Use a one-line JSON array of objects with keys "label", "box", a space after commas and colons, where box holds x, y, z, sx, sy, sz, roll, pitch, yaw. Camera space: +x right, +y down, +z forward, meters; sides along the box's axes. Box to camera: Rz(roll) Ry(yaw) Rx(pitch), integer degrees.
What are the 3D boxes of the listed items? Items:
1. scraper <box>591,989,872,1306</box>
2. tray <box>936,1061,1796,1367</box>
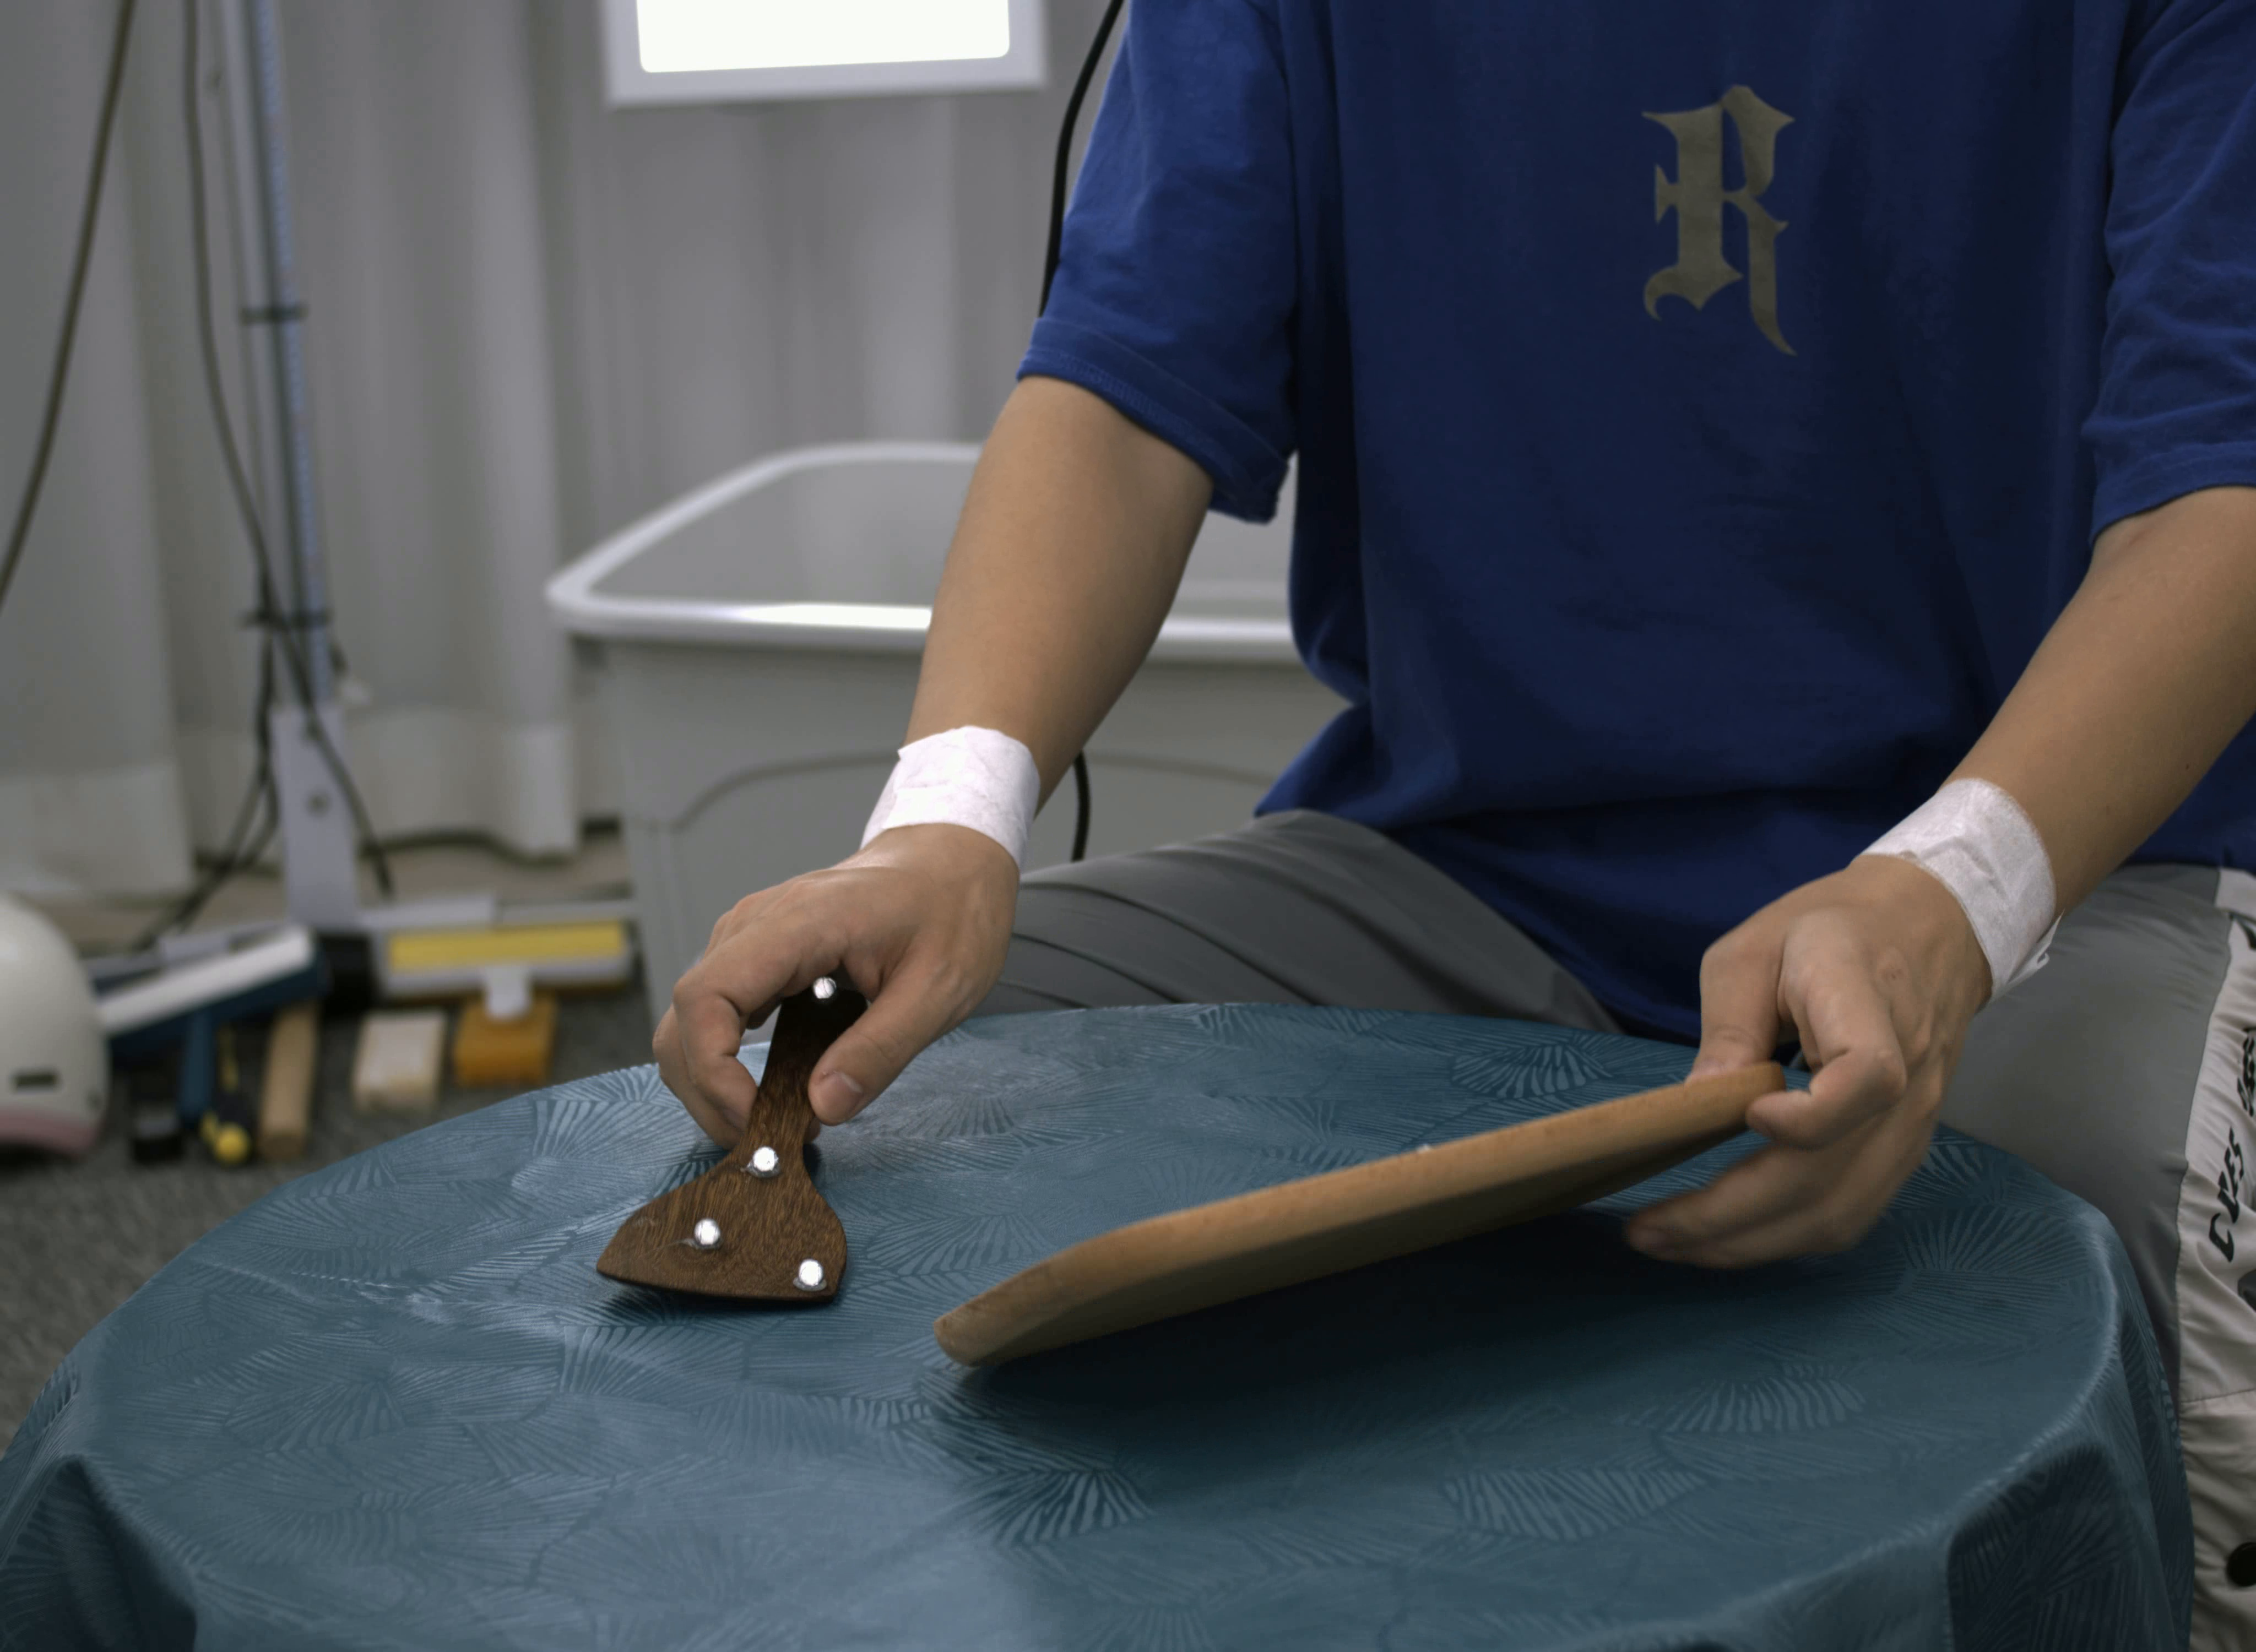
[{"label": "scraper", "box": [-0.111, 0.099, 1.714, 0.075, 0.011, 0.213, 5, 25, 6]}, {"label": "tray", "box": [0.071, 0.112, 1.572, 0.250, 0.023, 0.130, -12, -8, -30]}]
